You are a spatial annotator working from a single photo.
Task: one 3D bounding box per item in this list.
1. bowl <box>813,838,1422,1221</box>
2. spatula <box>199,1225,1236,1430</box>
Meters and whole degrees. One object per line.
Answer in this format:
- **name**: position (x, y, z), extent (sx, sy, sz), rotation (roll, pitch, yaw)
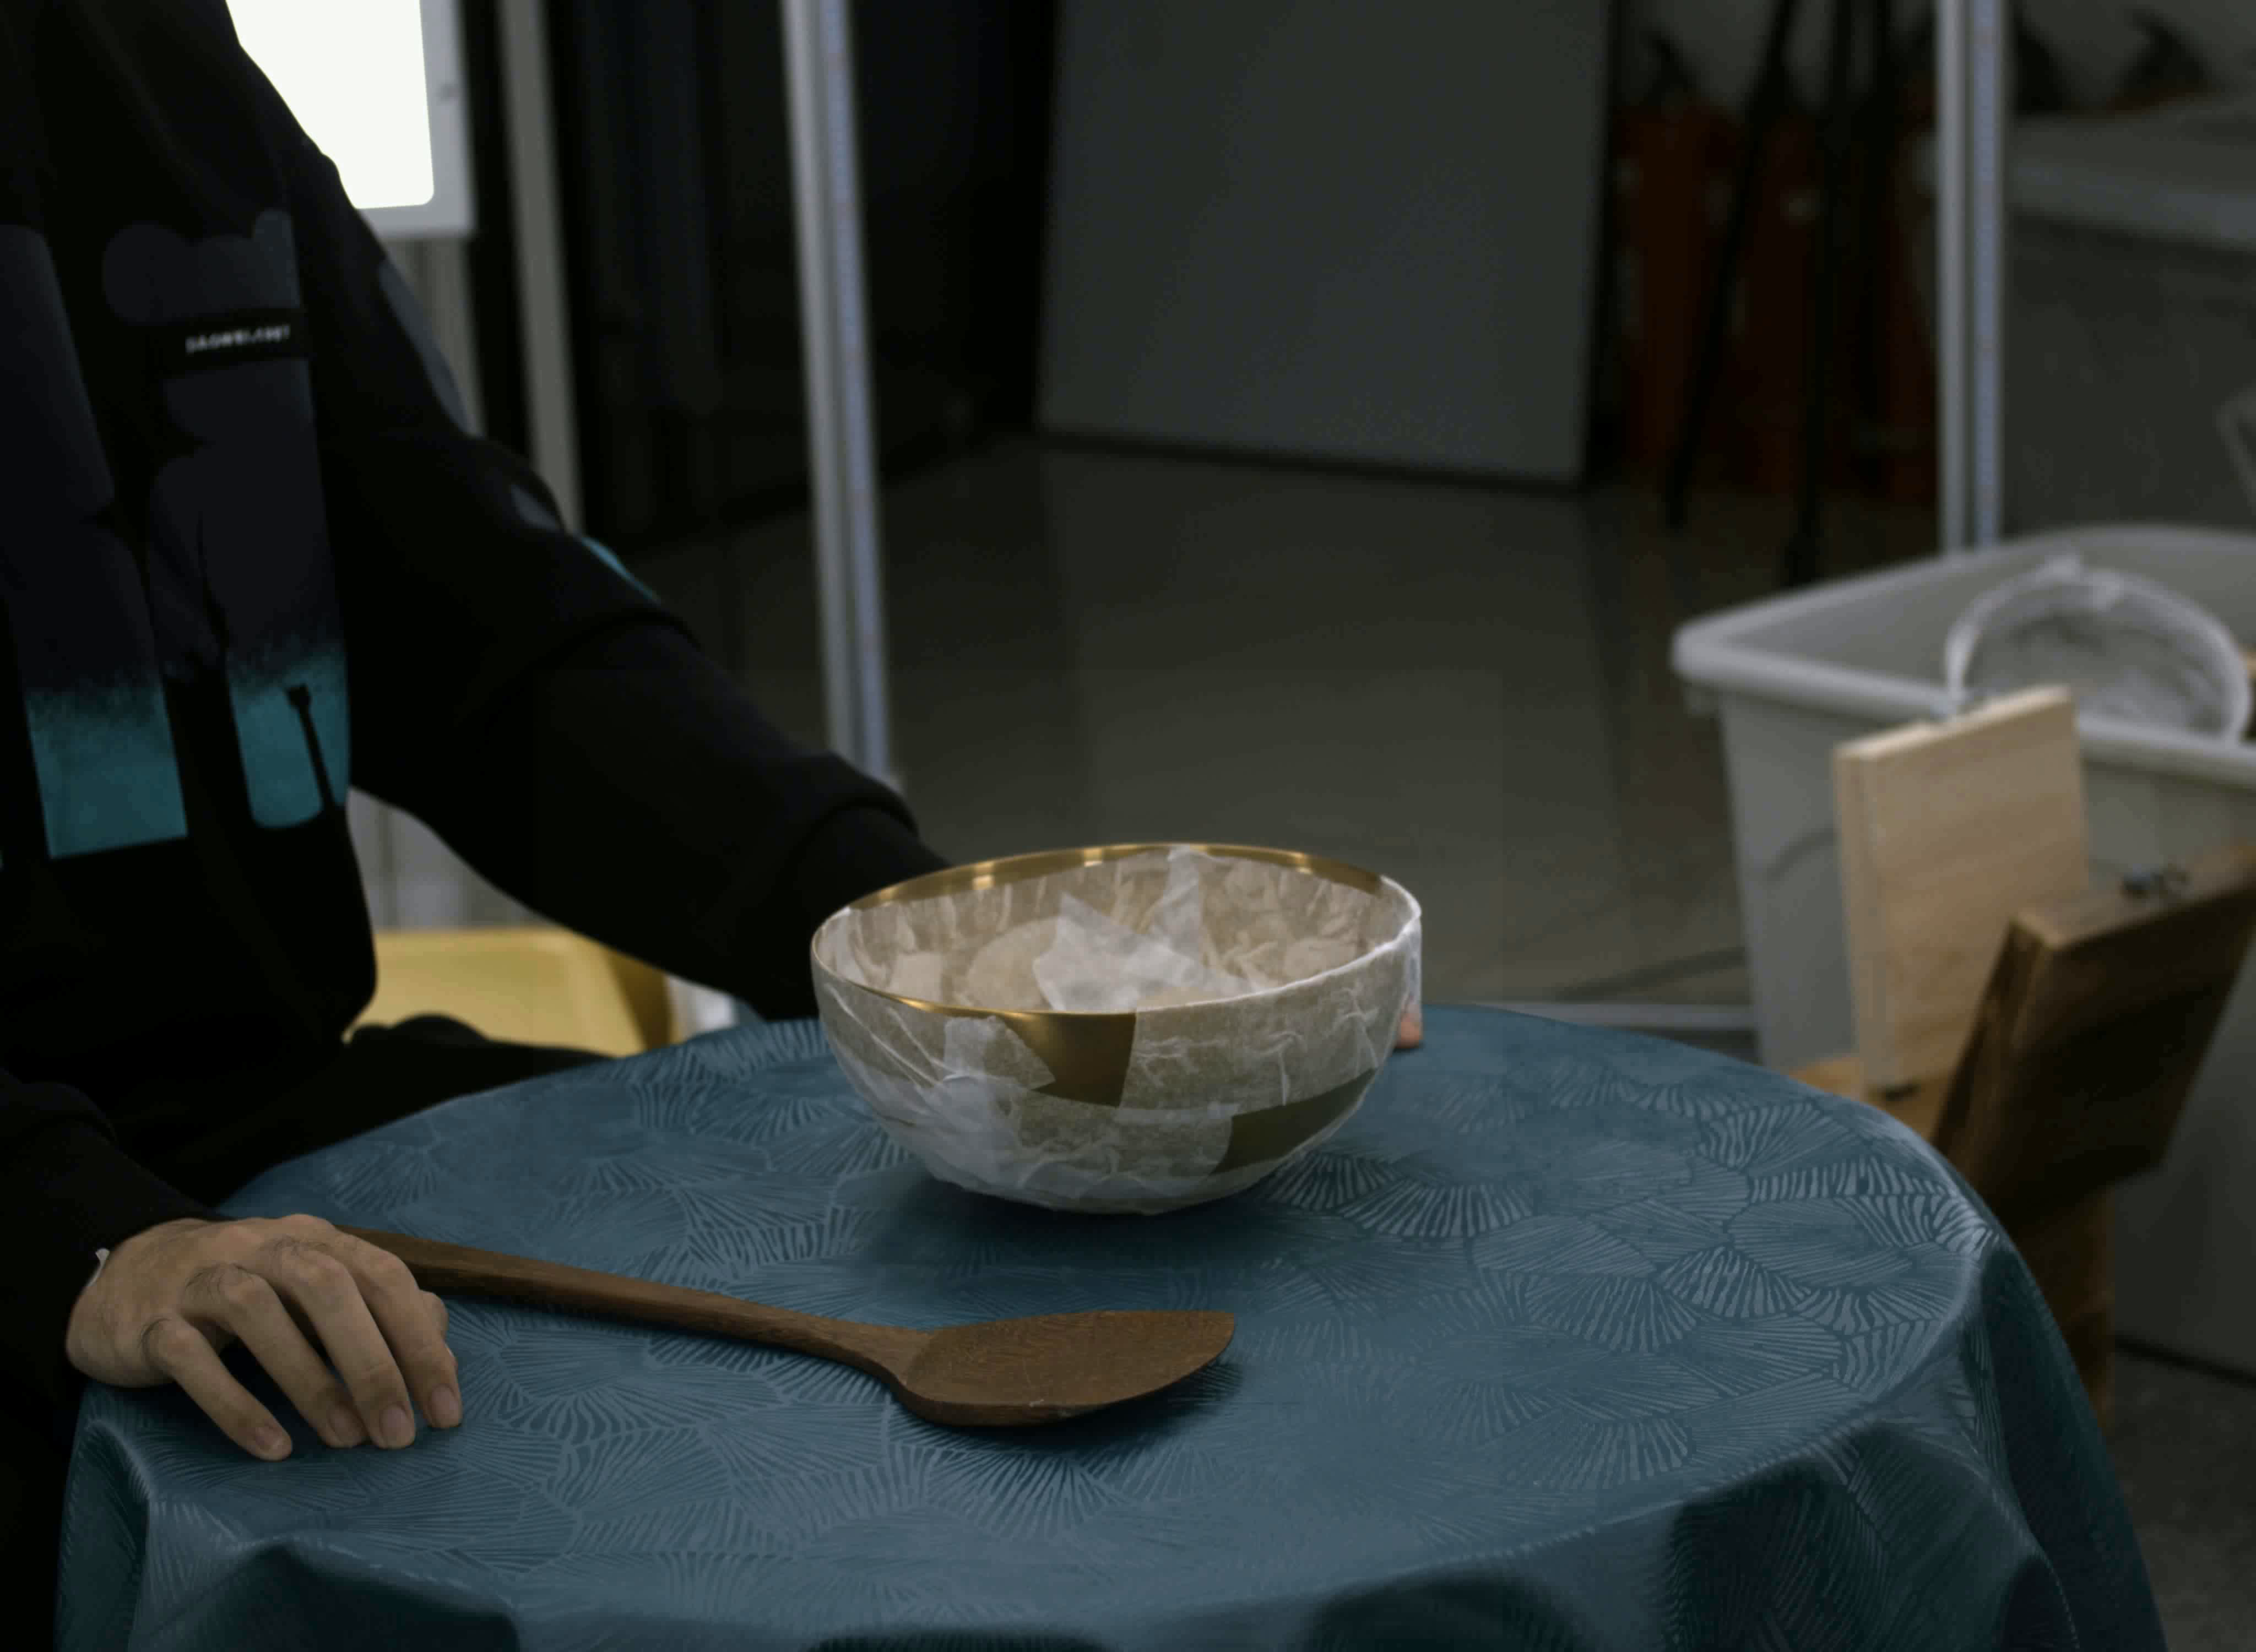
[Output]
- **bowl**: position (-0.002, 0.074, 1.770), extent (0.212, 0.095, 0.215), rotation (-6, 14, 1)
- **spatula**: position (-0.141, 0.150, 1.669), extent (0.388, 0.016, 0.094), rotation (5, 16, 34)
